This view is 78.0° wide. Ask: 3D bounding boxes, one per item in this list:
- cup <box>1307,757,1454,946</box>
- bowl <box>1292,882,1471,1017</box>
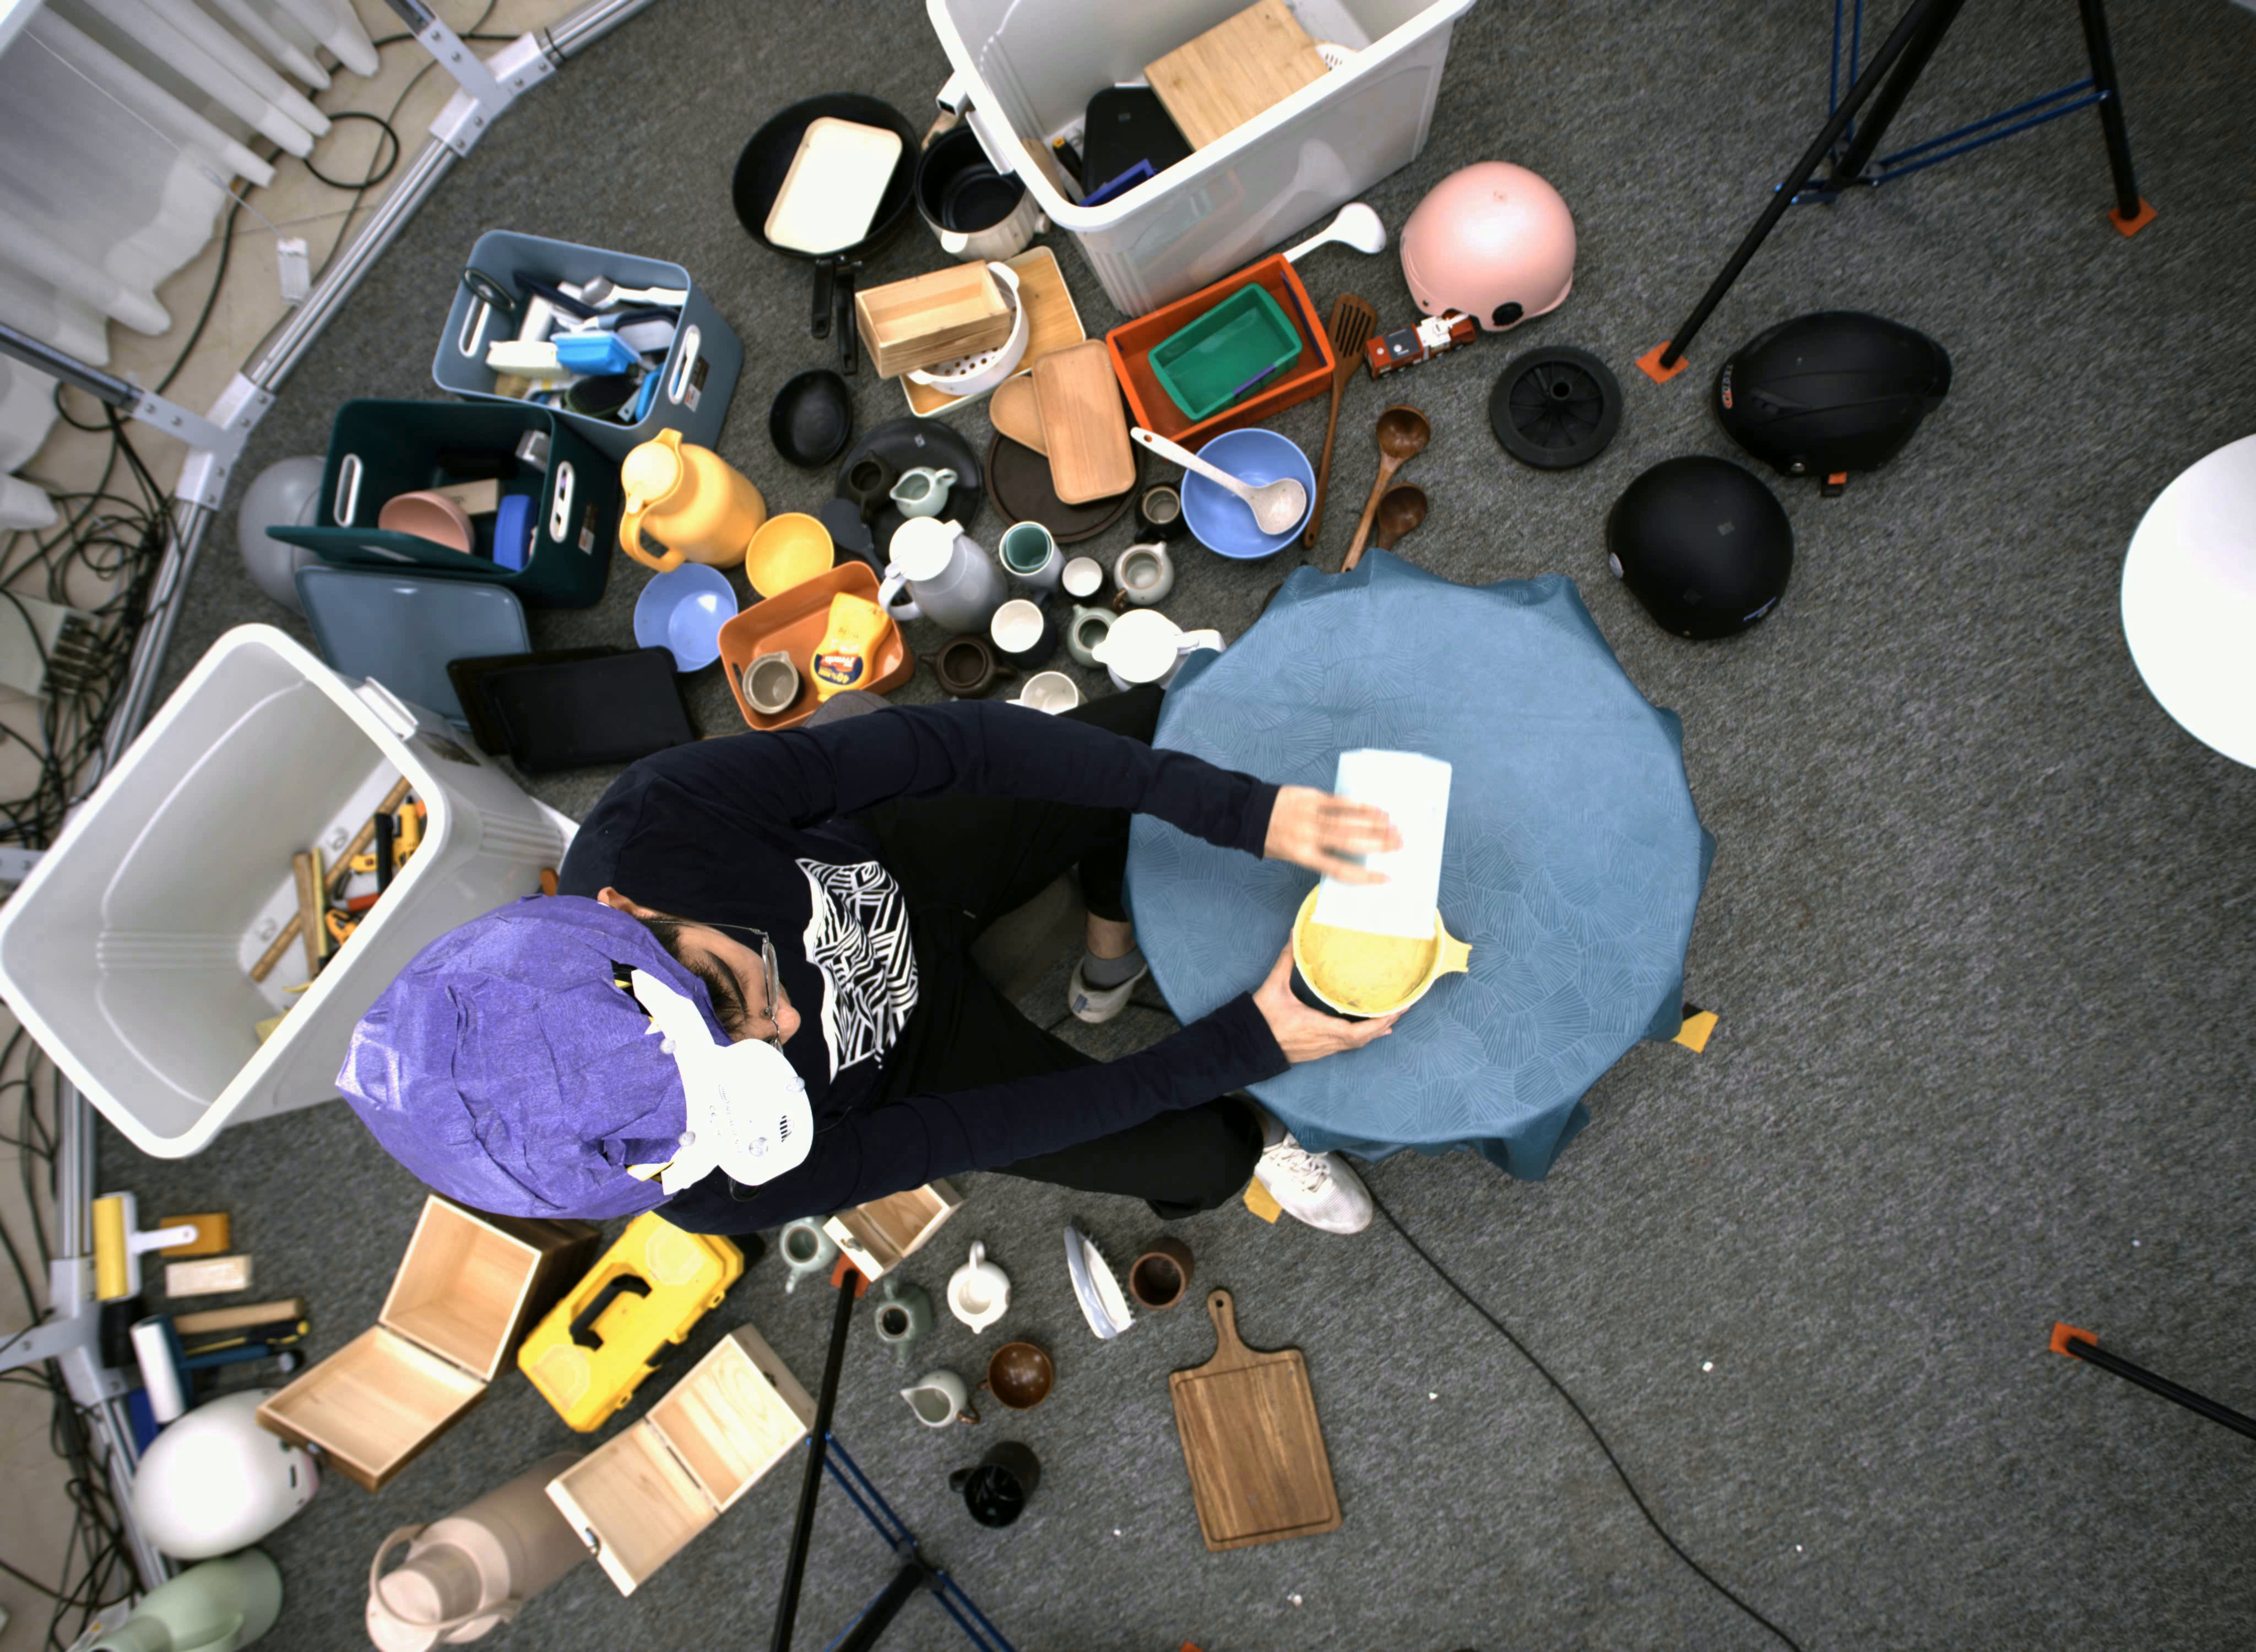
[{"bbox_3d":[0.242,0.021,1.299,0.115,0.130,0.163,10,94,18],"label":"cup"},{"bbox_3d":[0.262,0.120,1.425,0.180,0.074,0.152,5,88,13],"label":"bowl"}]
